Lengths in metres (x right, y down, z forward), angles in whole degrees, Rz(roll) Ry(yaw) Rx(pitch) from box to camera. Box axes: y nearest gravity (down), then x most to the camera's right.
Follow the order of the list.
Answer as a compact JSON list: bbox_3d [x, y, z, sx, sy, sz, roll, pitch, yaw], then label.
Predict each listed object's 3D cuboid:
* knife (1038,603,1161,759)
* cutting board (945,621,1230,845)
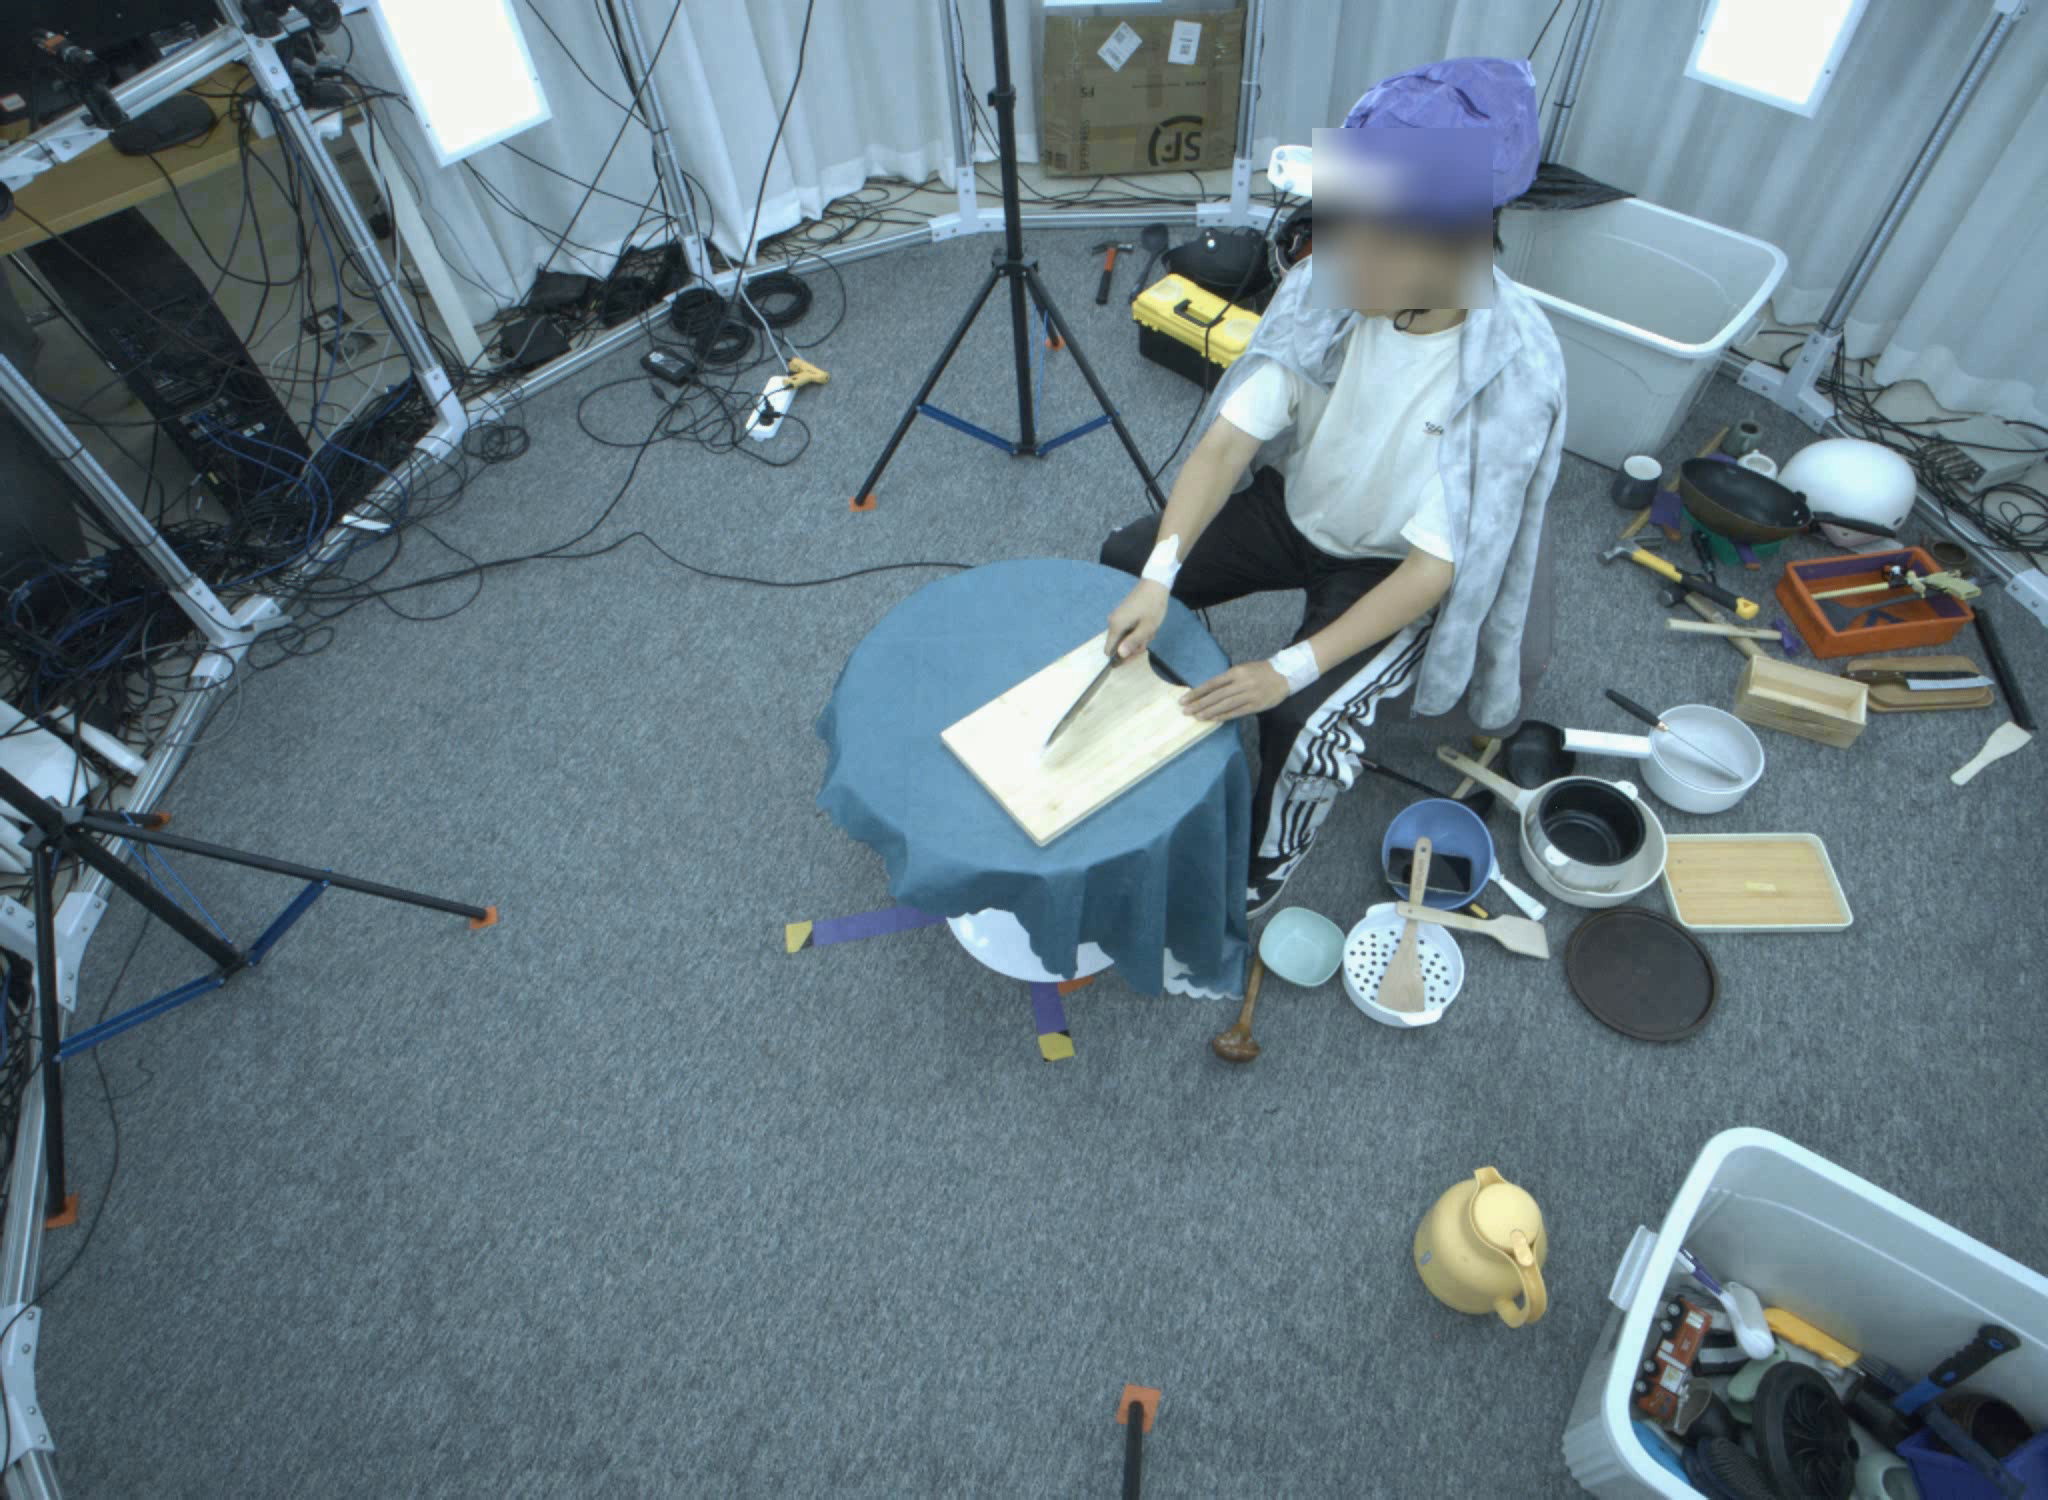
[{"bbox_3d":[0.109,-0.102,1.790,0.024,0.068,0.300,35,65,10],"label":"knife"},{"bbox_3d":[0.090,-0.035,1.801,0.351,0.024,0.246,-34,61,-20],"label":"cutting board"}]
